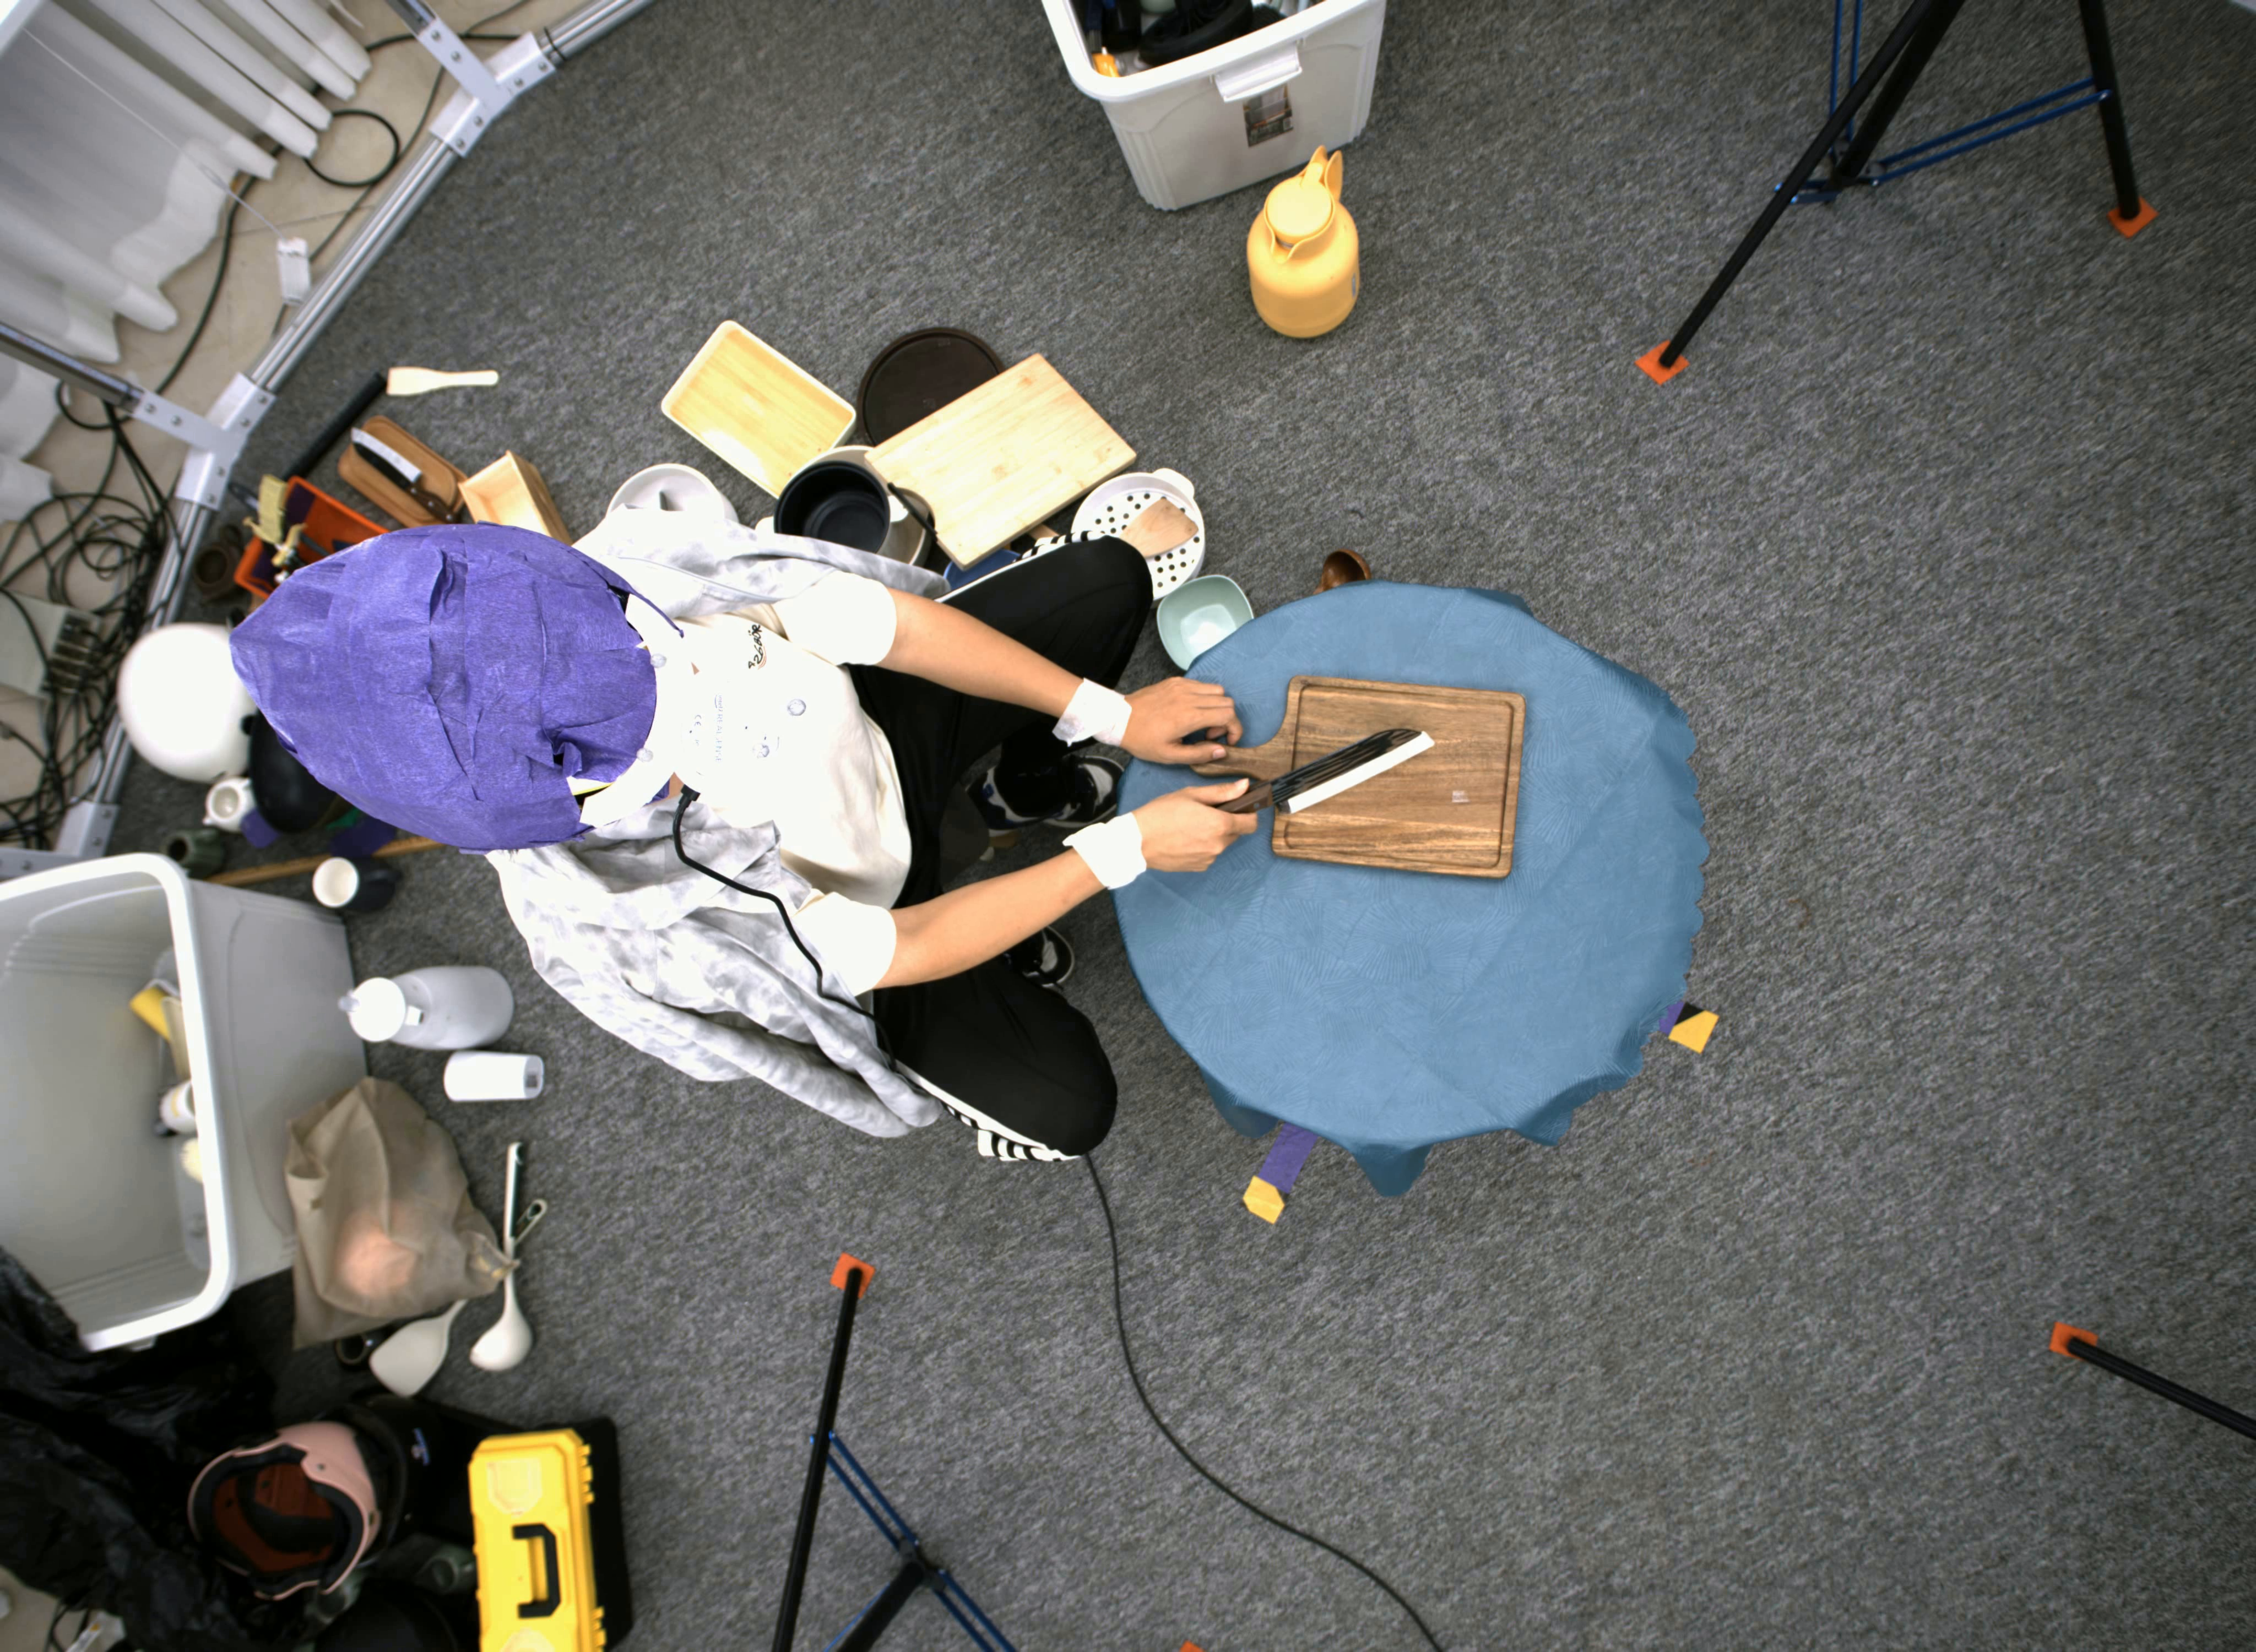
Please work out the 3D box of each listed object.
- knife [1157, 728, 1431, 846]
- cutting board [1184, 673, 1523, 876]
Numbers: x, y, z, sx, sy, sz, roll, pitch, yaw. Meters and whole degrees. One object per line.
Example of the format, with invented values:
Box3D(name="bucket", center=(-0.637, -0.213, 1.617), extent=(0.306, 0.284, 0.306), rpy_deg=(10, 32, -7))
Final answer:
Box3D(name="knife", center=(0.173, -0.039, 1.424), extent=(0.300, 0.069, 0.023), rpy_deg=(-24, 53, 5))
Box3D(name="cutting board", center=(0.234, -0.061, 1.462), extent=(0.353, 0.023, 0.200), rpy_deg=(6, 88, 11))
